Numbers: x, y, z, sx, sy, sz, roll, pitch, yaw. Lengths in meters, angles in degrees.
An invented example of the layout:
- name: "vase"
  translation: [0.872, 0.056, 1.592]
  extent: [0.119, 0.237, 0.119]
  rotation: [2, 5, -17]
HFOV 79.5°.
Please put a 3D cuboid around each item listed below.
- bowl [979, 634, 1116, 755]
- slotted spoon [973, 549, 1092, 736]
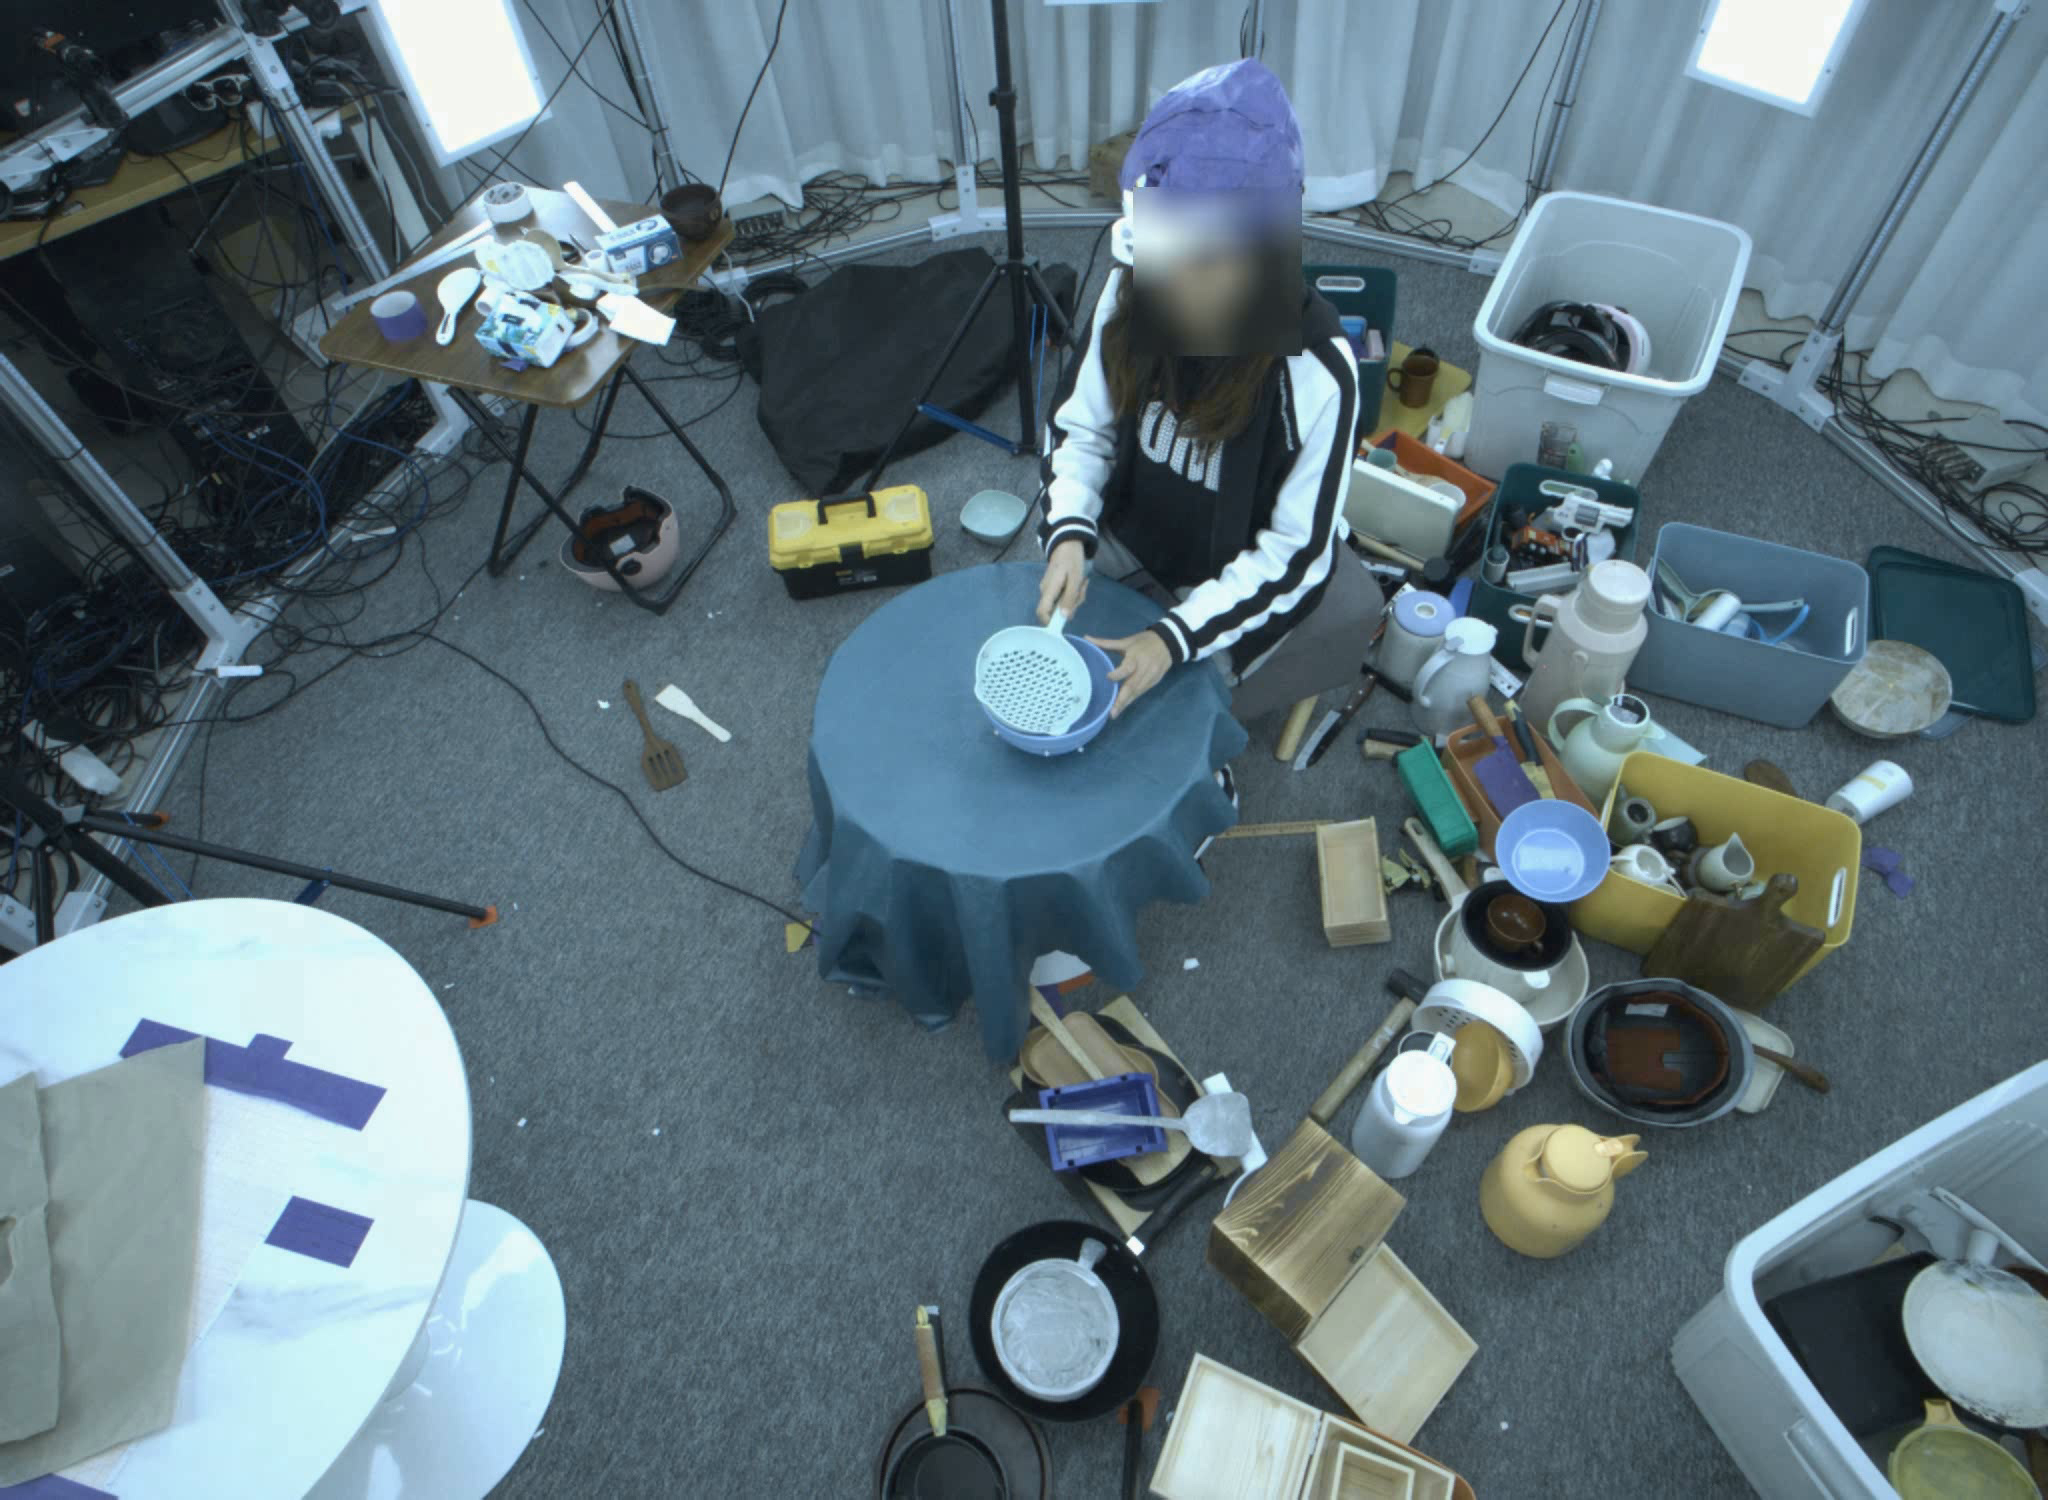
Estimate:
- name: "bowl"
  translation: [0.035, -0.066, 1.775]
  extent: [0.196, 0.096, 0.194]
  rotation: [-1, 54, 2]
- name: "slotted spoon"
  translation: [0.040, -0.171, 1.781]
  extent: [0.170, 0.075, 0.358]
  rotation: [26, 65, -7]
